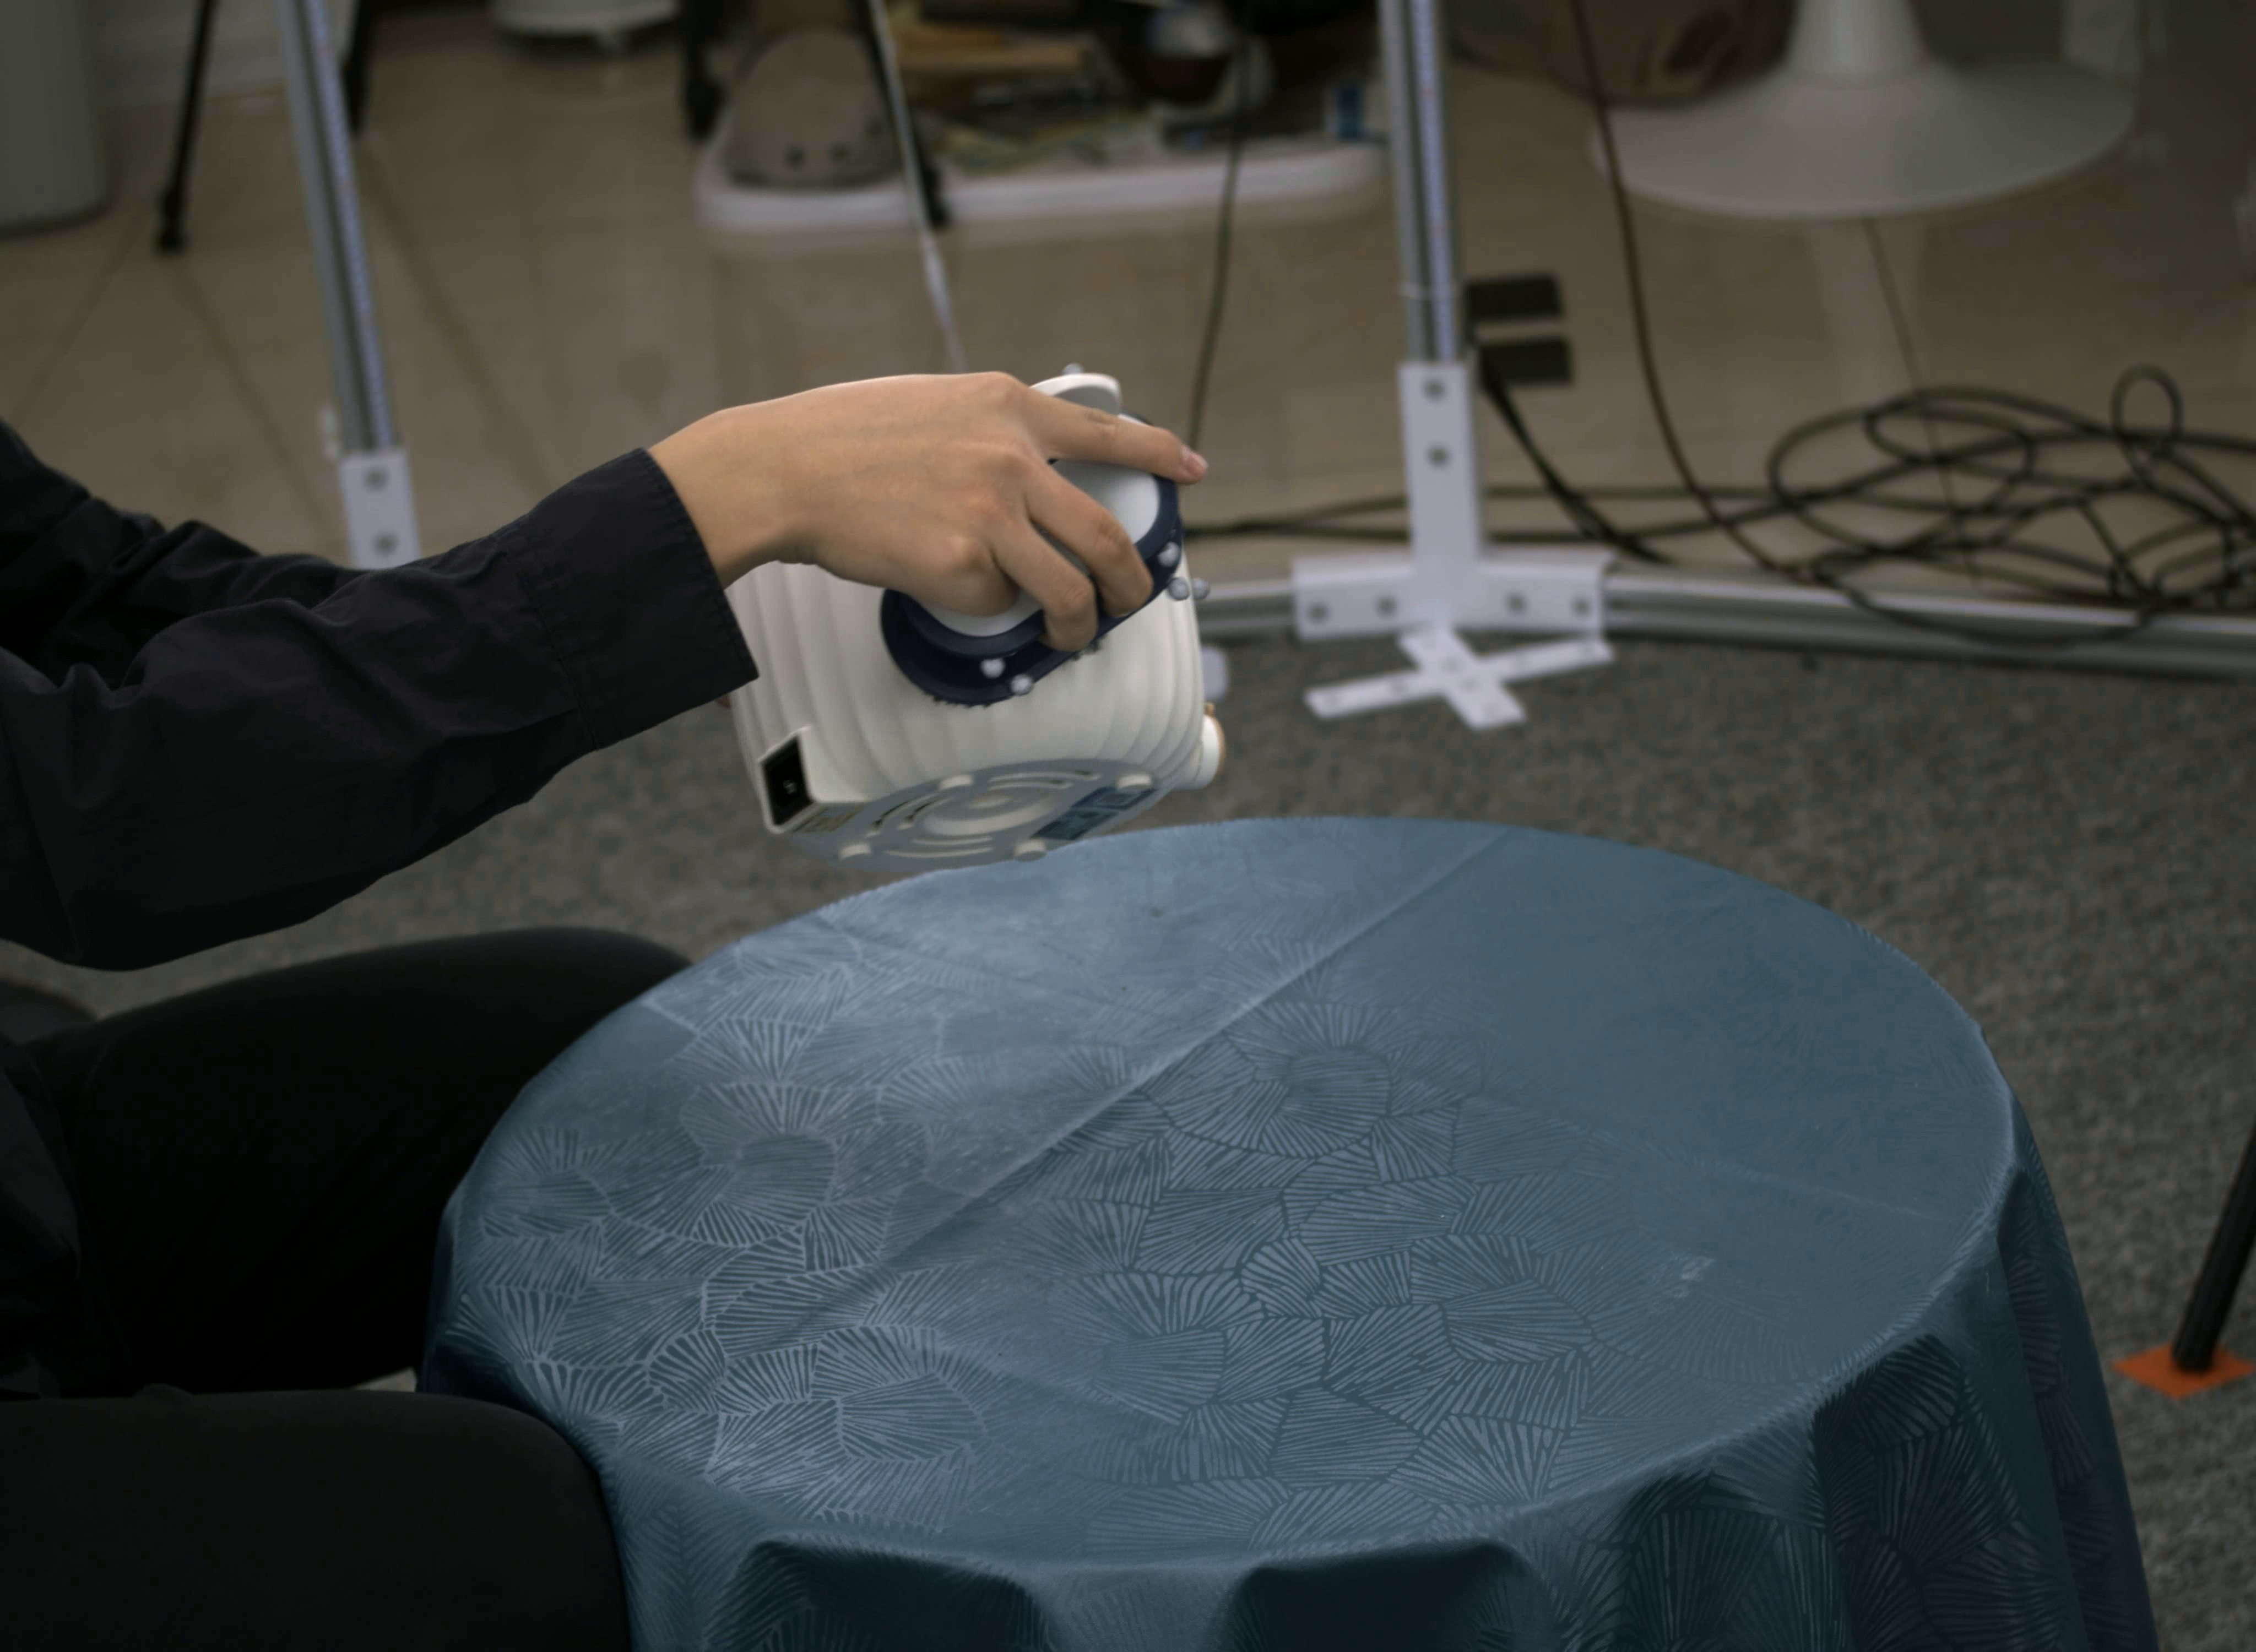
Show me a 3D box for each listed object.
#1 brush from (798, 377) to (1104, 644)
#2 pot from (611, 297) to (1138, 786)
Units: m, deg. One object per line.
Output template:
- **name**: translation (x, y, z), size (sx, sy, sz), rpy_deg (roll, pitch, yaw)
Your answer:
- **brush**: translation (-0.063, -0.112, 2.038), size (0.121, 0.062, 0.067), rpy_deg (-30, 77, -16)
- **pot**: translation (-0.091, -0.098, 2.168), size (0.190, 0.142, 0.242), rpy_deg (-5, -14, -34)
